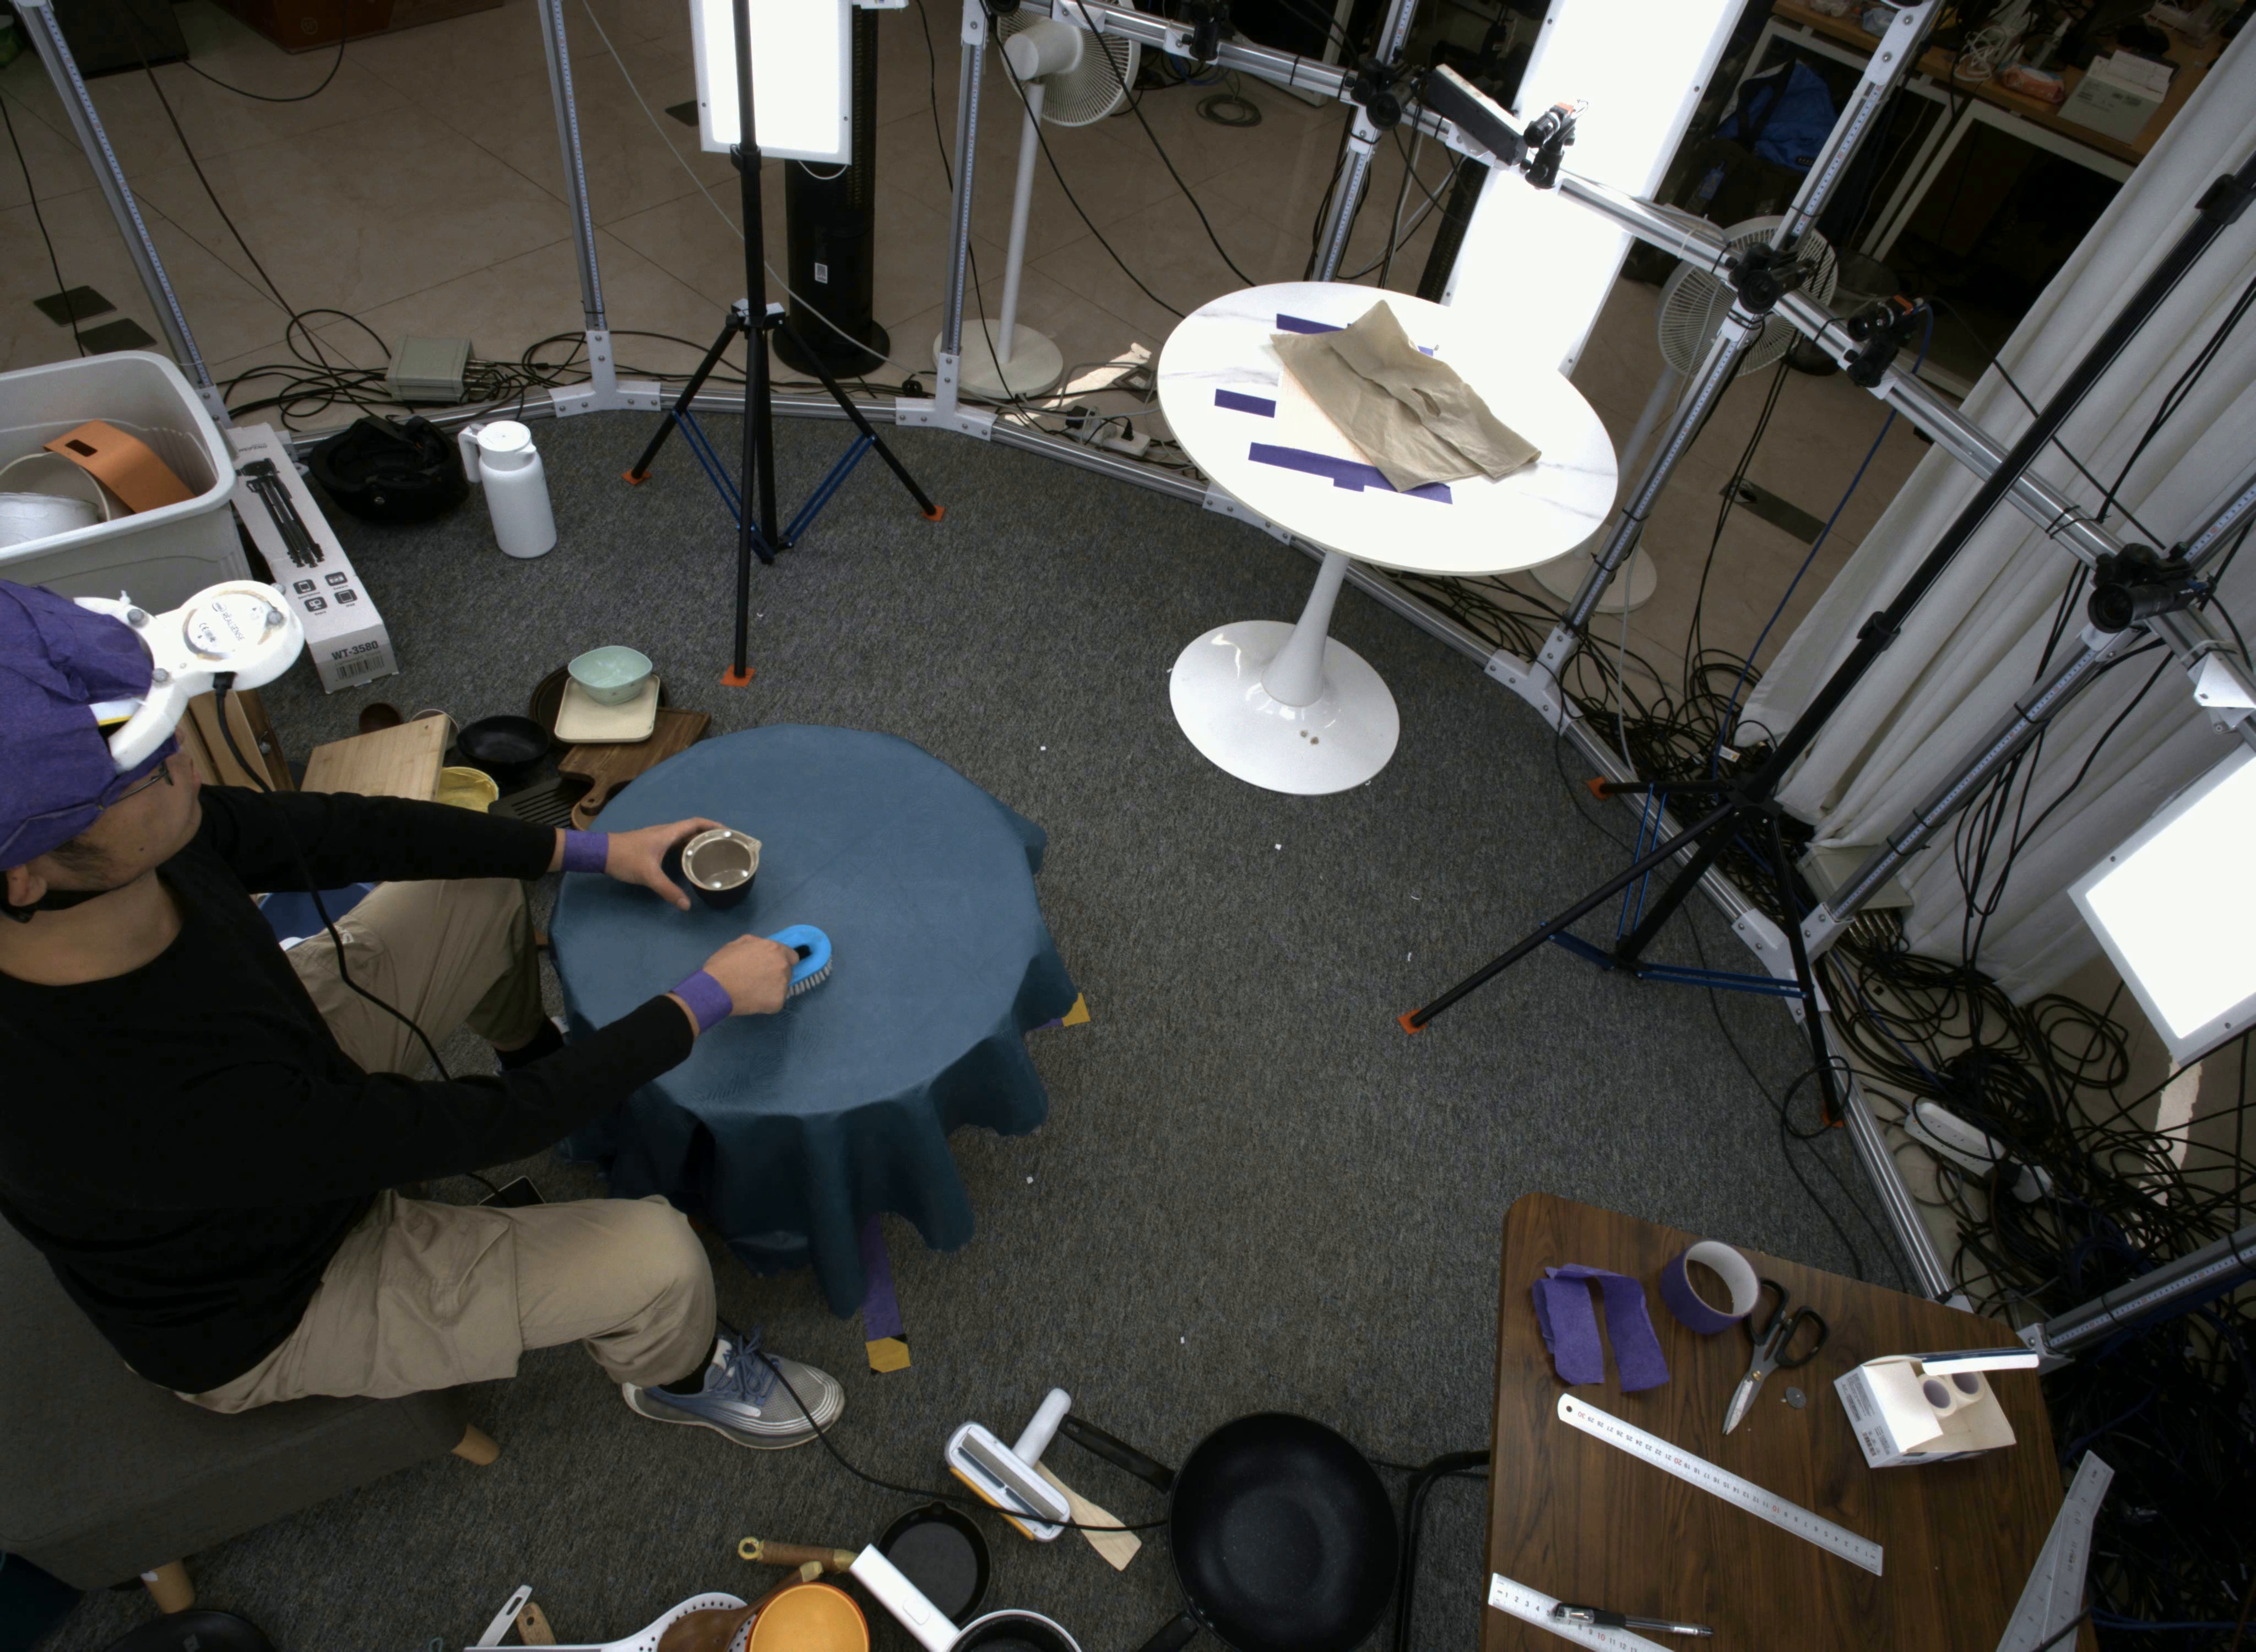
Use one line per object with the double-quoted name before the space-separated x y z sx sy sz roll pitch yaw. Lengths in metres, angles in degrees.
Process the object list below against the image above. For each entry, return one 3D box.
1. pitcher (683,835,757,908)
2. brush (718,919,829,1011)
"pitcher" -0.507 0.057 1.616 0.096 0.073 0.081 -21 59 -28
"brush" -0.426 0.159 1.566 0.142 0.065 0.082 -27 67 -28
